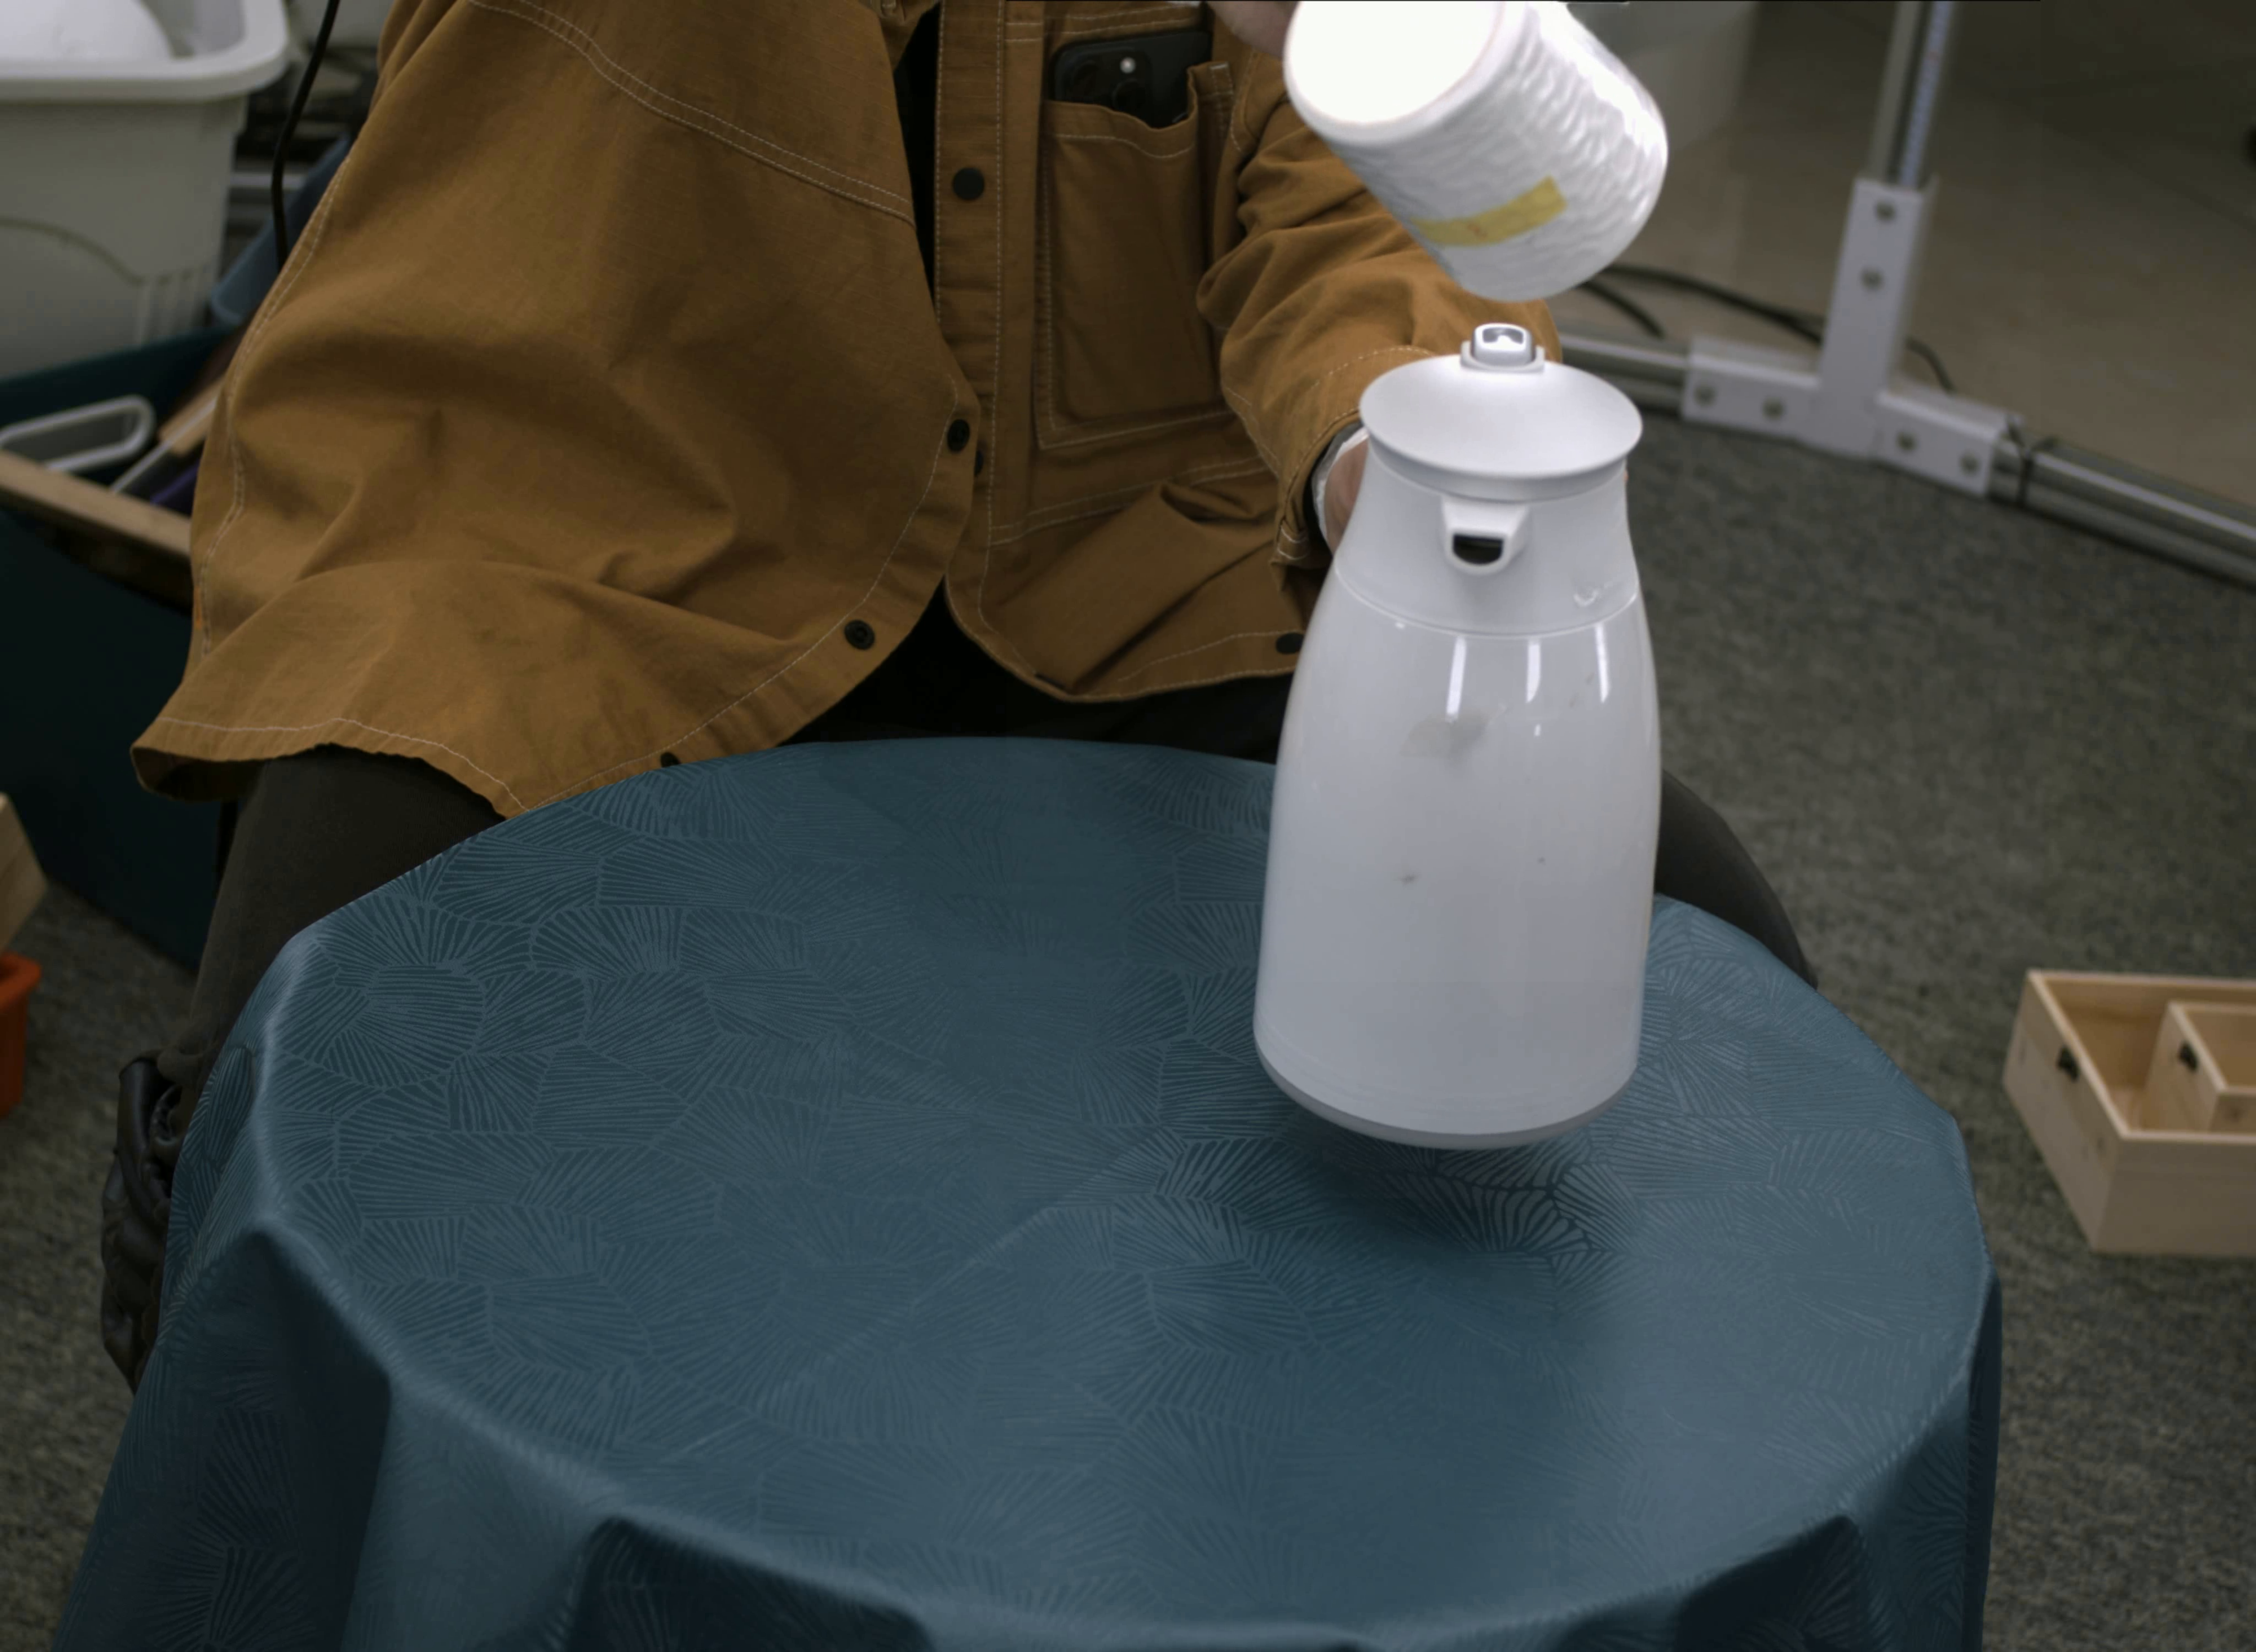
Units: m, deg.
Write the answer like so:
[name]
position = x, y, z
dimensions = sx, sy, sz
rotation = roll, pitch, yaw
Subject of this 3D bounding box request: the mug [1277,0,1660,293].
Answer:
[mug]
position = 0.099, -0.237, 1.645
dimensions = 0.101, 0.085, 0.119
rotation = 40, 21, -49

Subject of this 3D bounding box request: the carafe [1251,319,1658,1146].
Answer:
[carafe]
position = 0.114, -0.042, 1.782
dimensions = 0.132, 0.247, 0.168
rotation = 5, 28, 6
